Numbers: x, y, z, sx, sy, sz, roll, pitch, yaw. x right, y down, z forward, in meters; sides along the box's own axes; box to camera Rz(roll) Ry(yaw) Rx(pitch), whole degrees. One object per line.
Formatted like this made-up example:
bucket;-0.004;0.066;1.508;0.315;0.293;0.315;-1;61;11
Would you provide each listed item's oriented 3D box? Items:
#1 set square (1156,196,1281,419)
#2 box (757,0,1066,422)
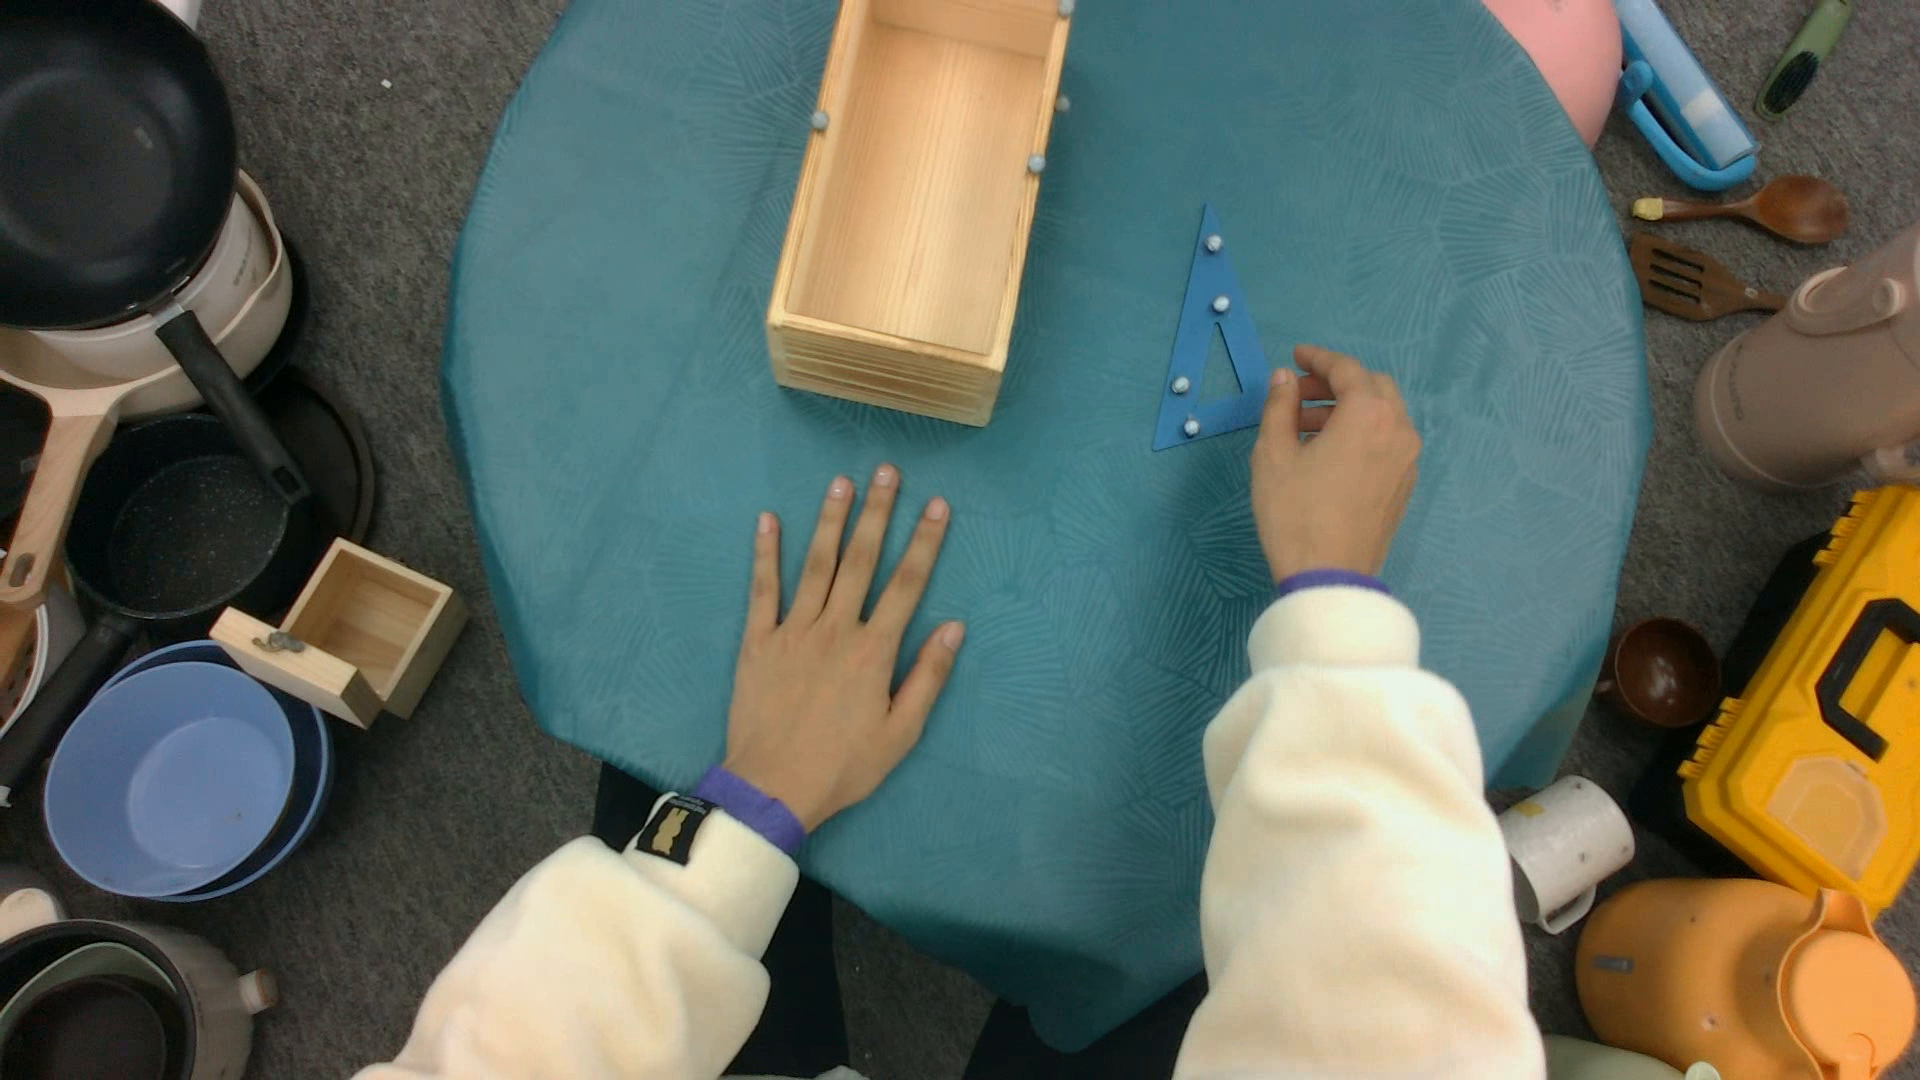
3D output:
set square;0.143;-0.112;0.697;0.061;0.006;0.132;19;75;1
box;-0.020;-0.175;0.660;0.107;0.080;0.212;11;75;-1
